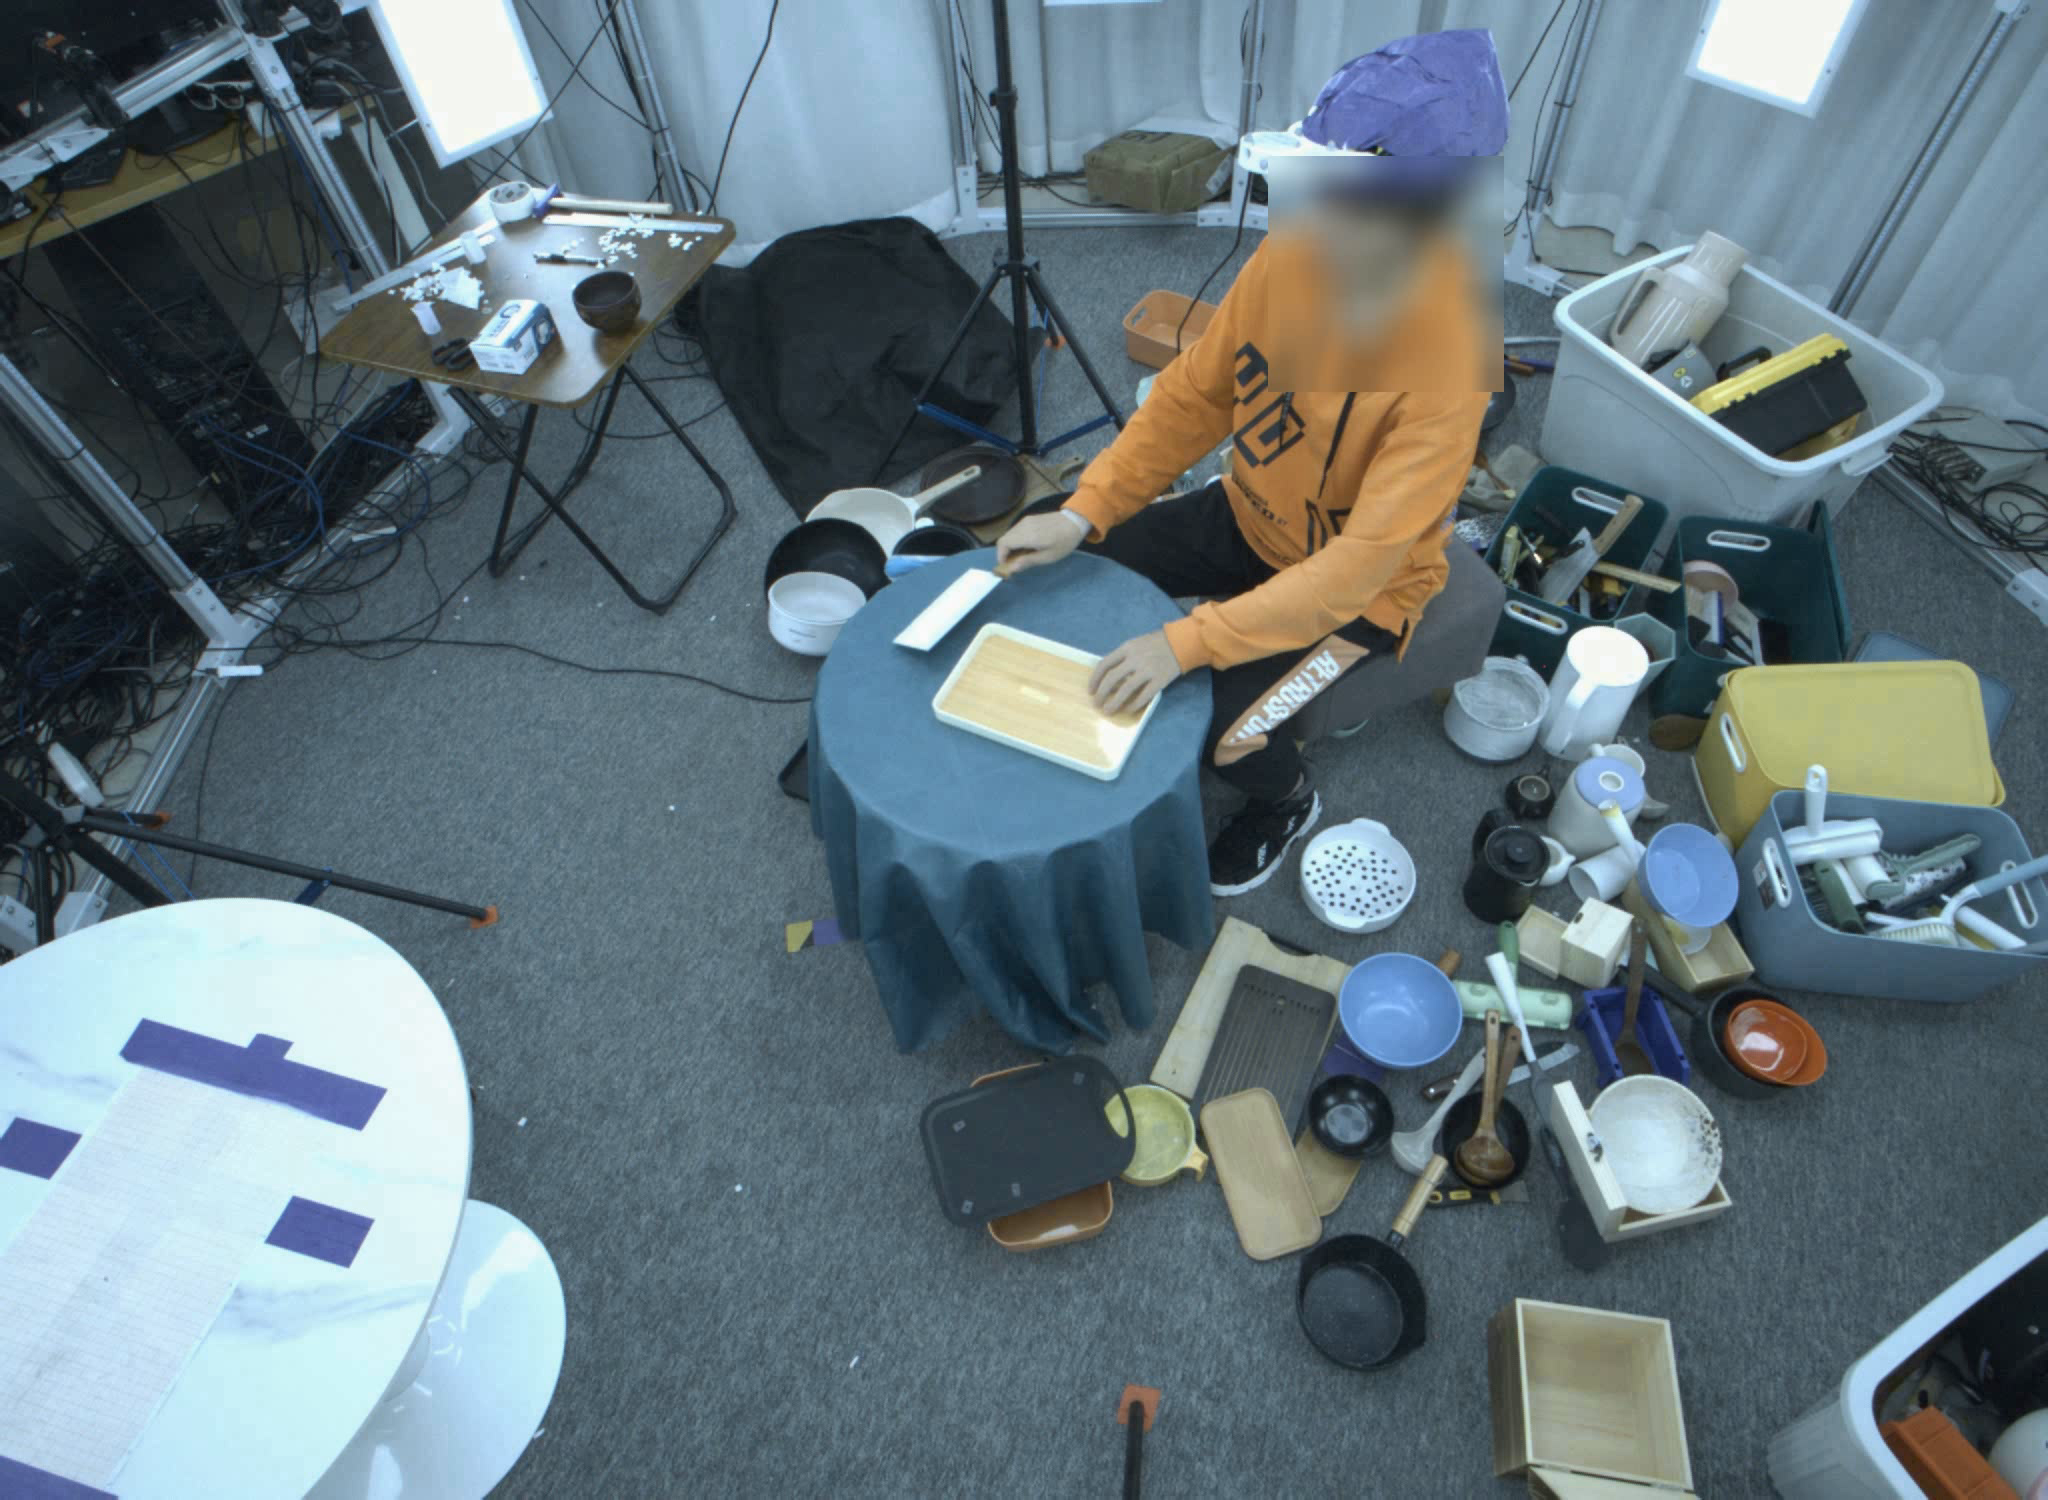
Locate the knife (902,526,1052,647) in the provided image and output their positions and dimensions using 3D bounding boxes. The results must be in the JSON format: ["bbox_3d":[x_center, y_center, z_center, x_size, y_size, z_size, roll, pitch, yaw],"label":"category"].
[{"bbox_3d":[-0.078,-0.260,1.930,0.091,0.021,0.307,17,54,44],"label":"knife"}]

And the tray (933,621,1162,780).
[{"bbox_3d":[0.035,-0.078,1.824,0.296,0.028,0.192,21,58,16],"label":"tray"}]
